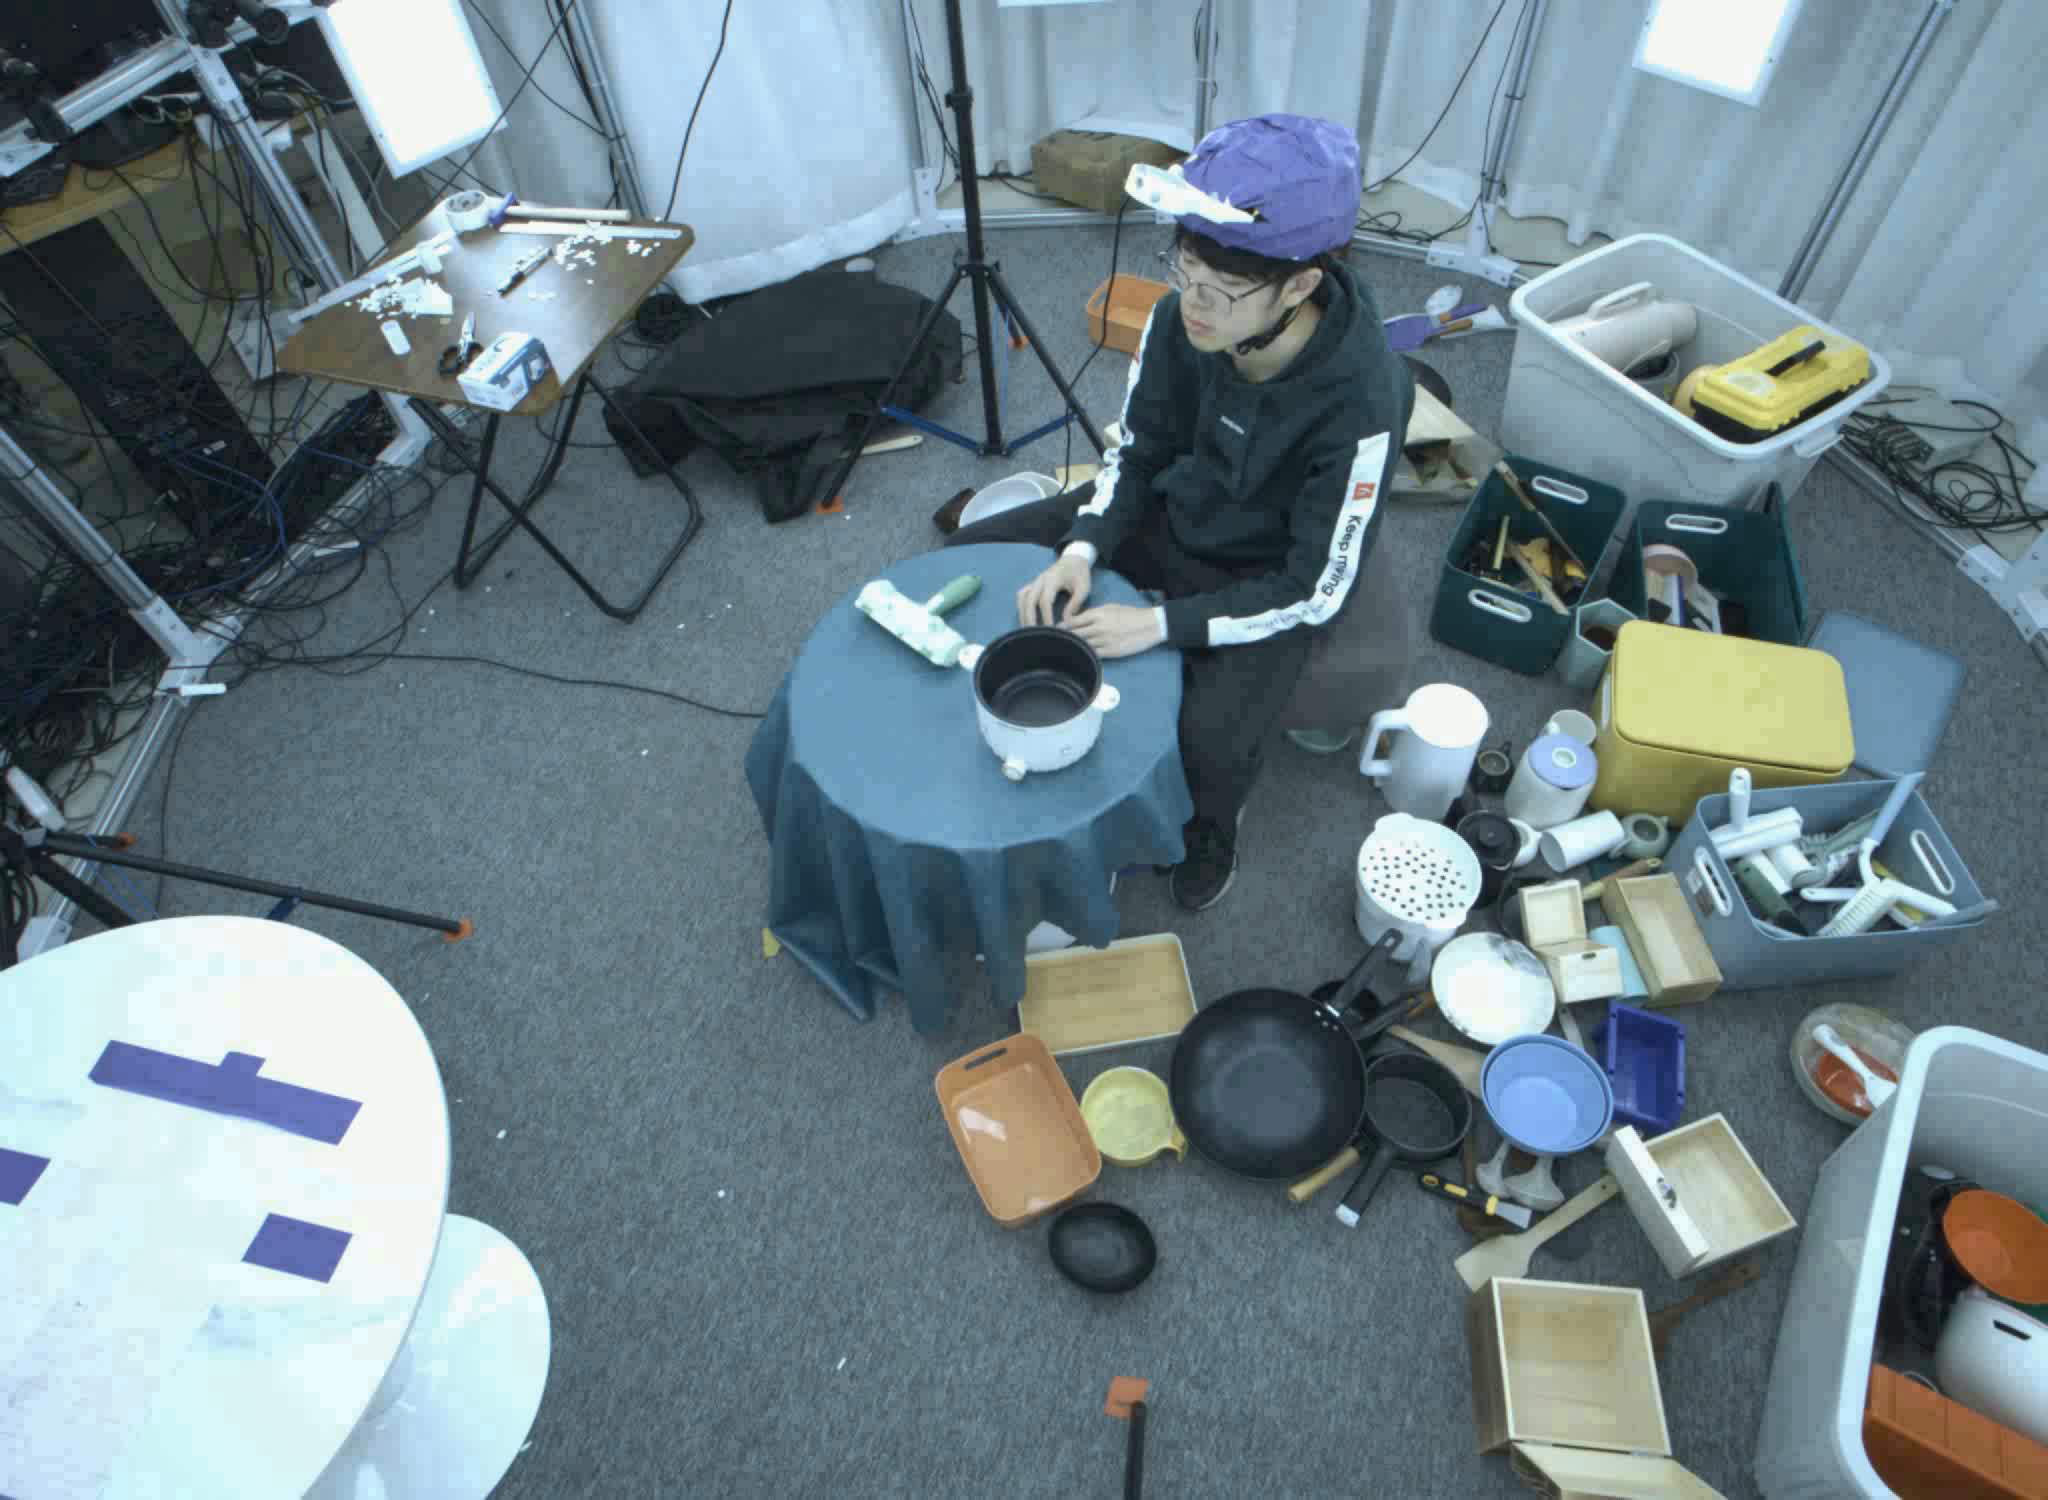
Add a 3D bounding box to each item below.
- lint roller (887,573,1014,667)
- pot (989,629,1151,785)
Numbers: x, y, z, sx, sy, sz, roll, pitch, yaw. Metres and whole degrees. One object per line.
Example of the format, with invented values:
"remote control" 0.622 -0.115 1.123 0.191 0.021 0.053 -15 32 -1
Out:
"lint roller" -0.088 -0.236 1.907 0.195 0.083 0.184 38 70 26
"pot" 0.063 -0.055 1.735 0.237 0.144 0.191 19 55 17
